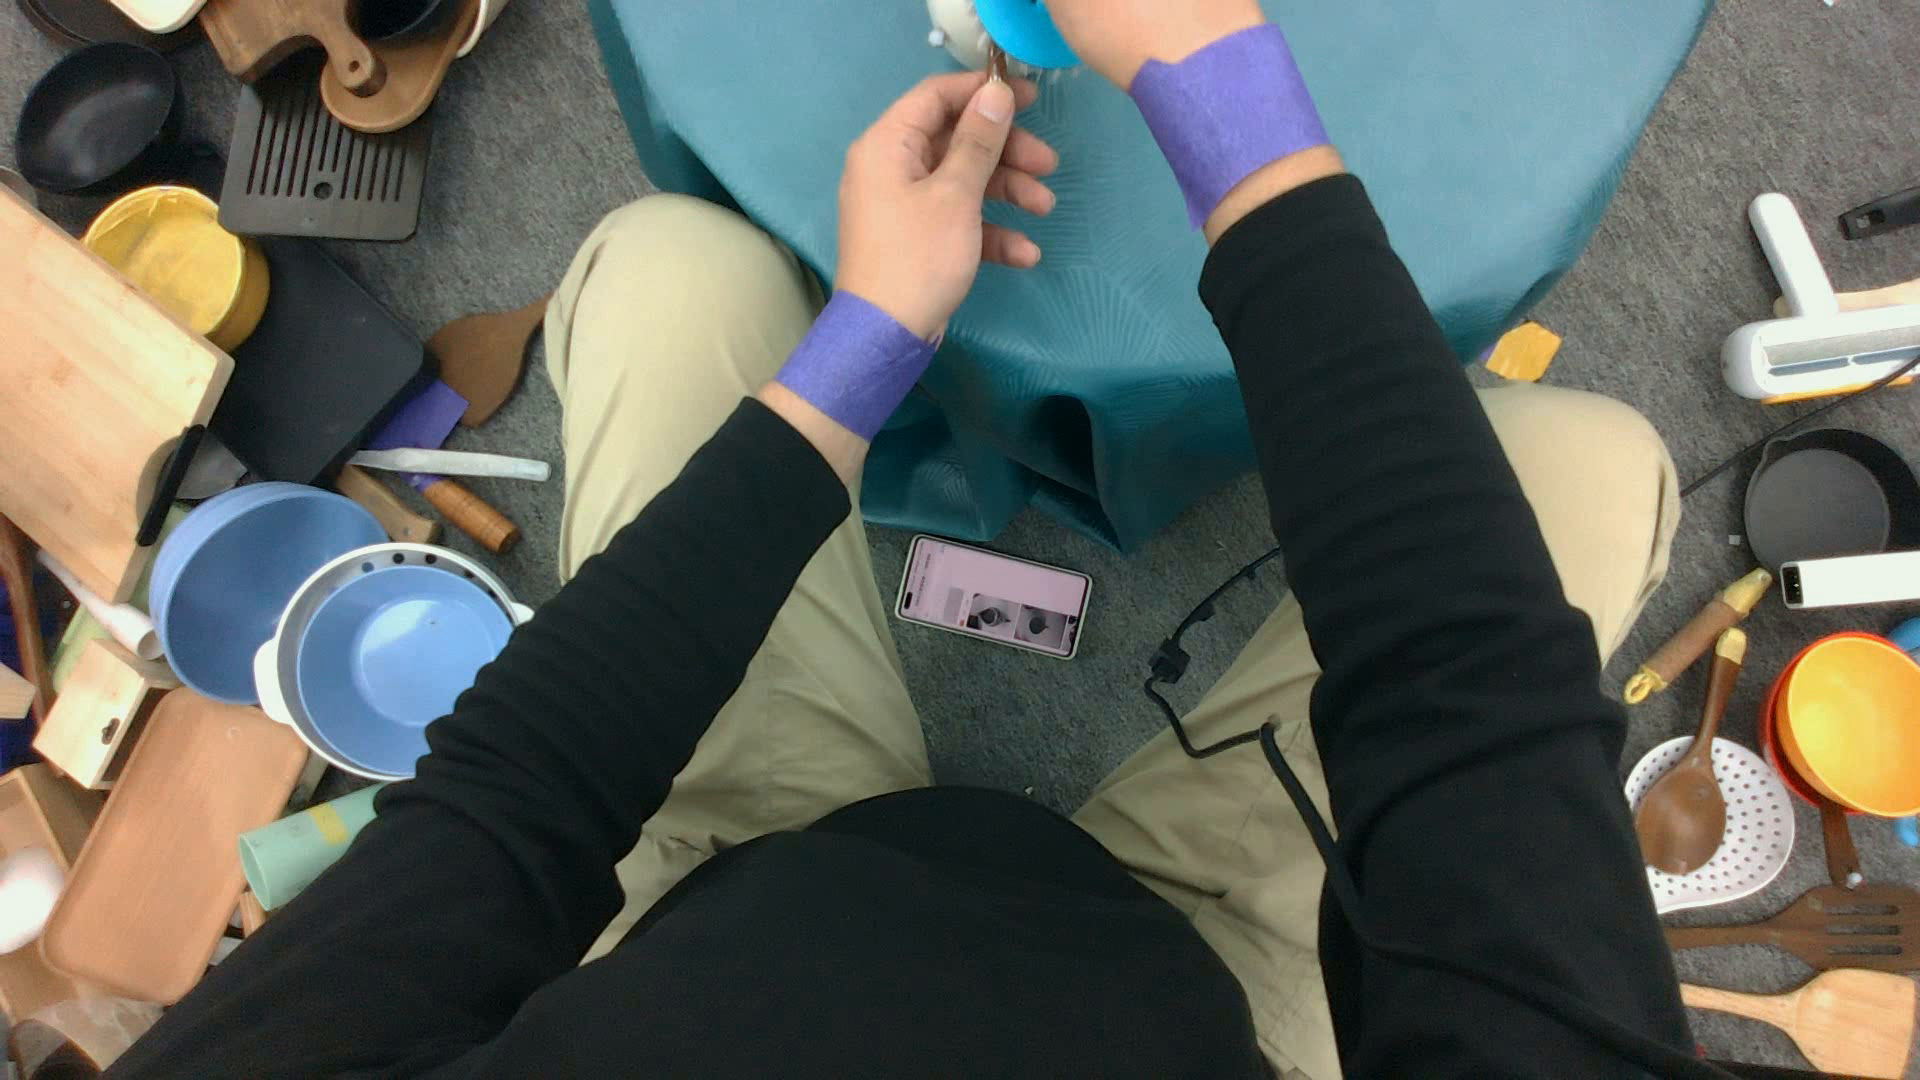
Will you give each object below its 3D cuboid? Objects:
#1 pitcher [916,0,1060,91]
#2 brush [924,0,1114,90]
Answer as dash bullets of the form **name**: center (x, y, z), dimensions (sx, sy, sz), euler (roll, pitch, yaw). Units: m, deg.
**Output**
- **pitcher**: center (0.012, -0.266, 0.660), dimensions (0.076, 0.088, 0.119), euler (7, 83, 6)
- **brush**: center (0.023, -0.267, 0.582), dimensions (0.084, 0.064, 0.141), euler (-11, 103, -7)
